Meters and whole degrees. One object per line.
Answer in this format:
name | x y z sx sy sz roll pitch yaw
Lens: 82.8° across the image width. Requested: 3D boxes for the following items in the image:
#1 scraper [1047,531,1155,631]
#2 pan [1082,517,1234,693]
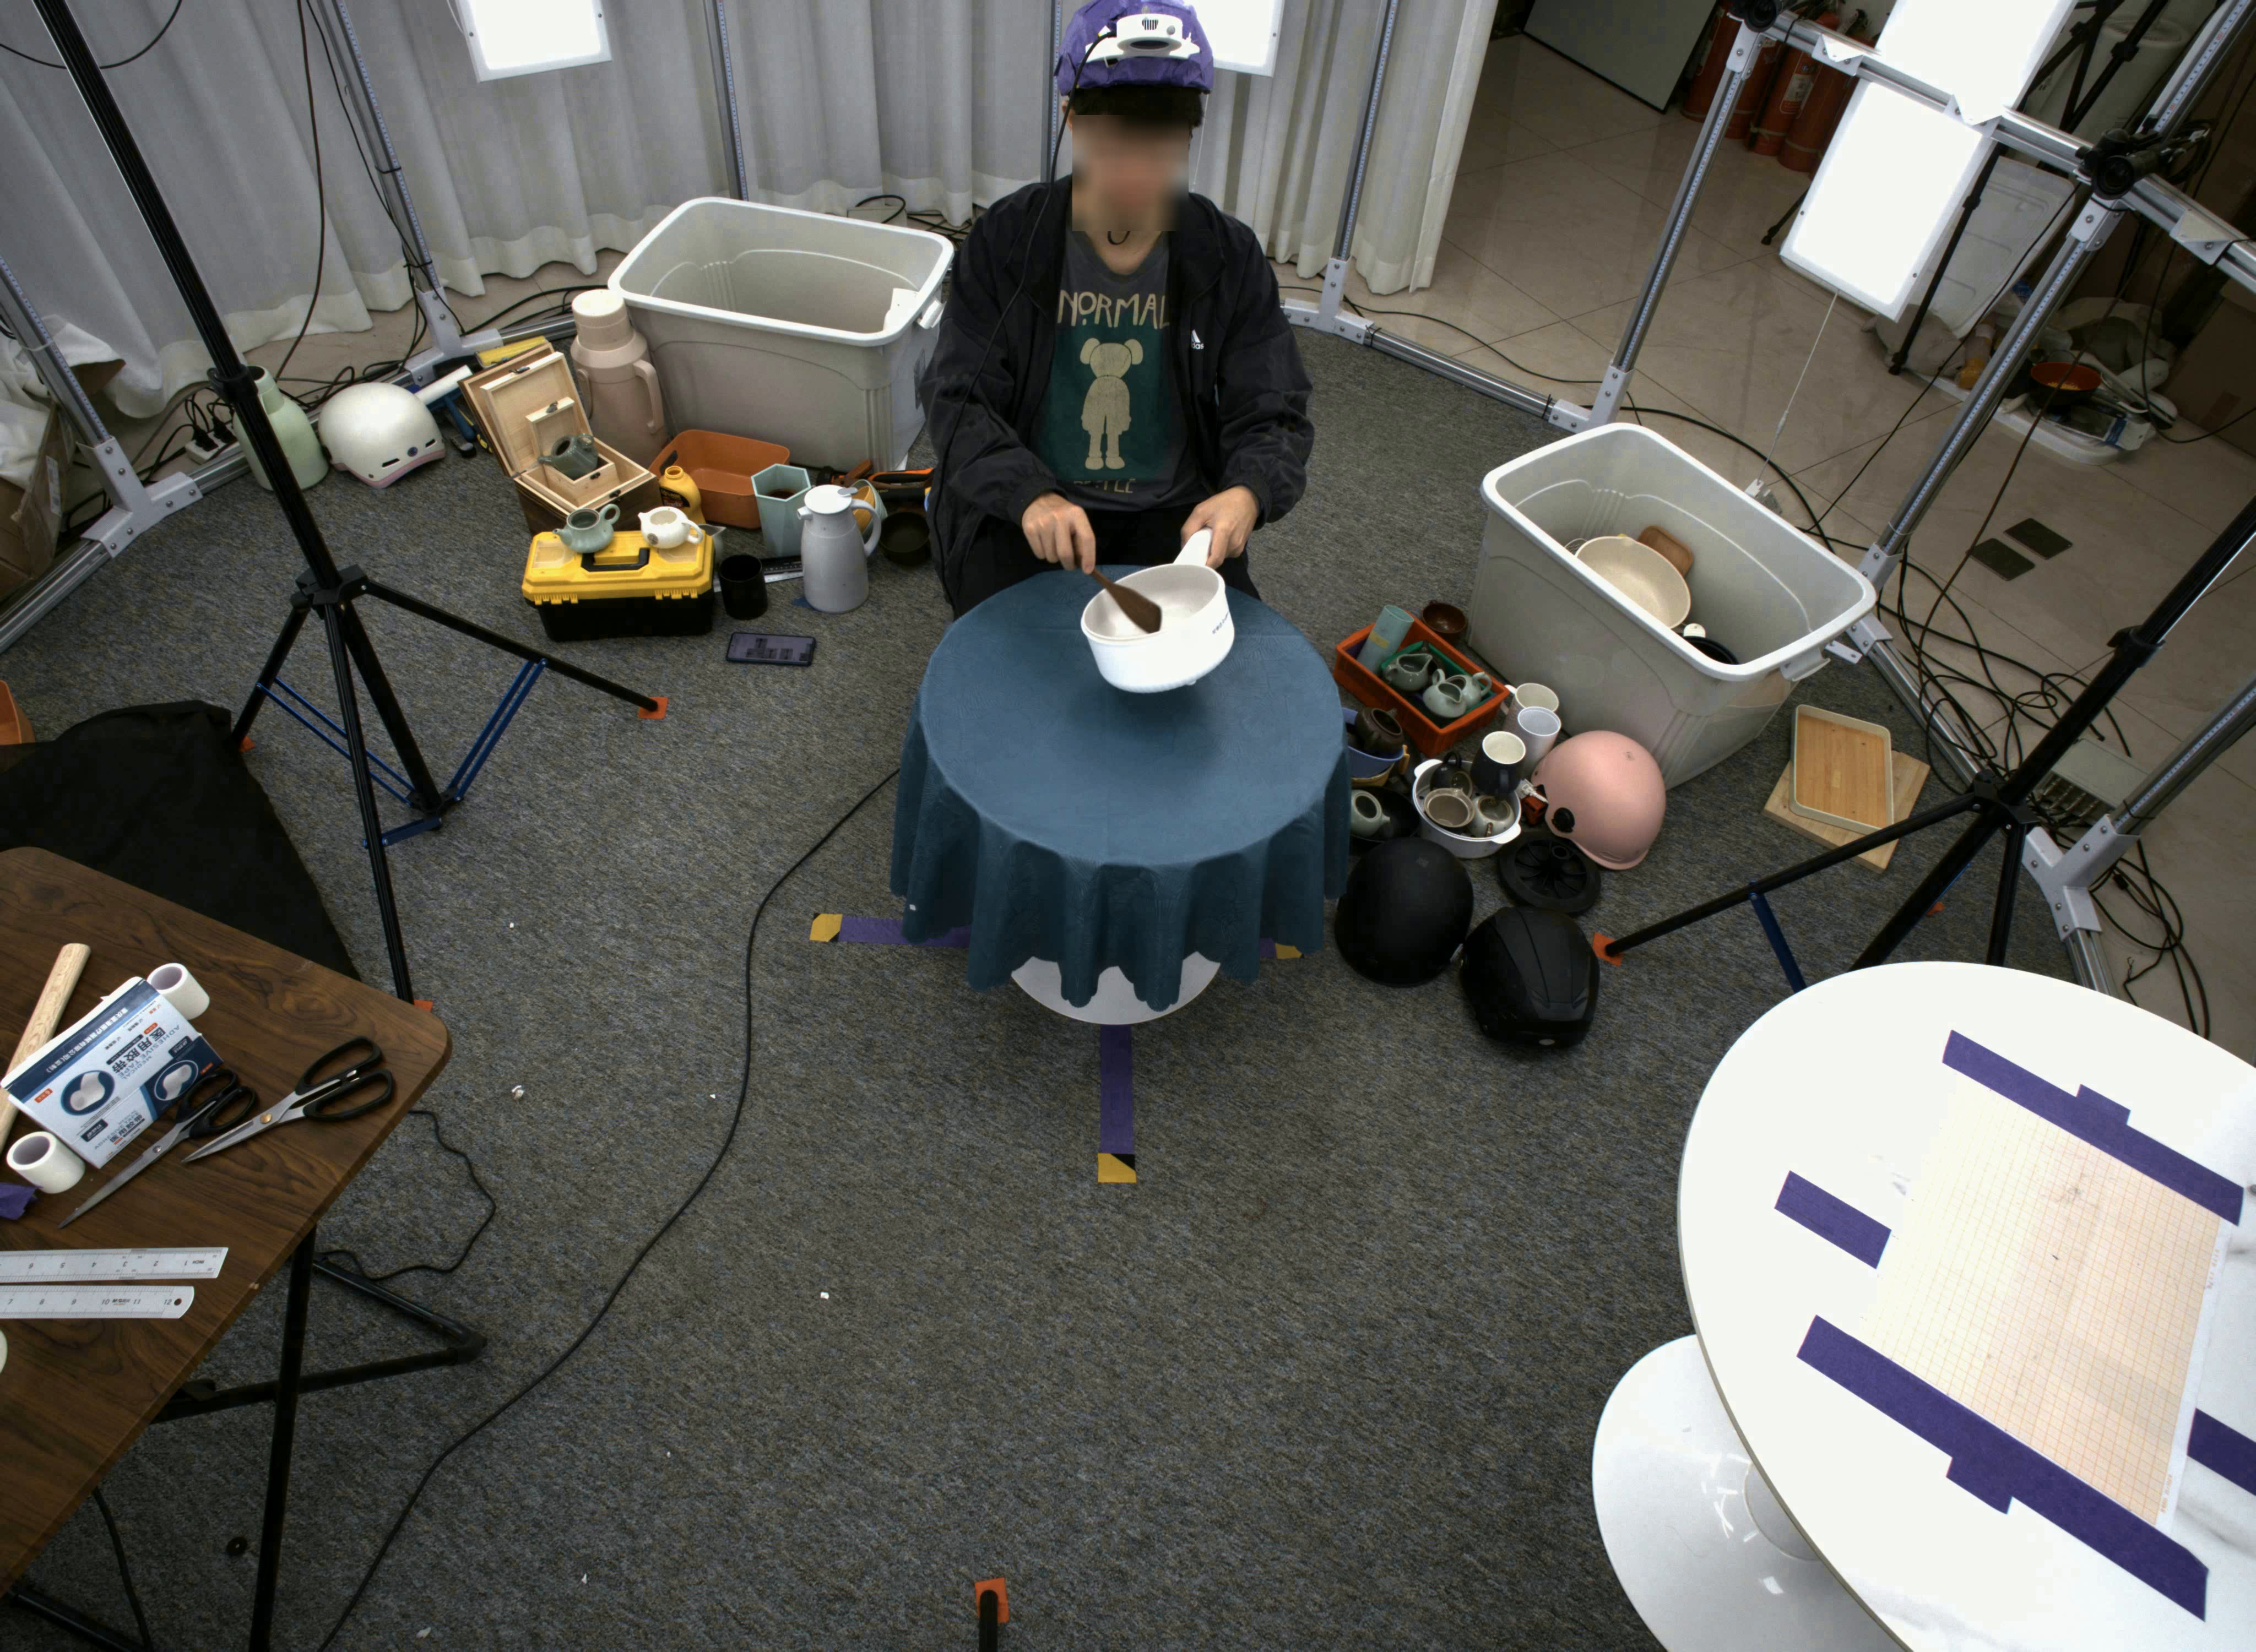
scraper | -0.040 -0.338 1.772 0.011 0.074 0.214 -39 68 -20
pan | 0.076 -0.313 1.812 0.202 0.100 0.361 0 37 30
